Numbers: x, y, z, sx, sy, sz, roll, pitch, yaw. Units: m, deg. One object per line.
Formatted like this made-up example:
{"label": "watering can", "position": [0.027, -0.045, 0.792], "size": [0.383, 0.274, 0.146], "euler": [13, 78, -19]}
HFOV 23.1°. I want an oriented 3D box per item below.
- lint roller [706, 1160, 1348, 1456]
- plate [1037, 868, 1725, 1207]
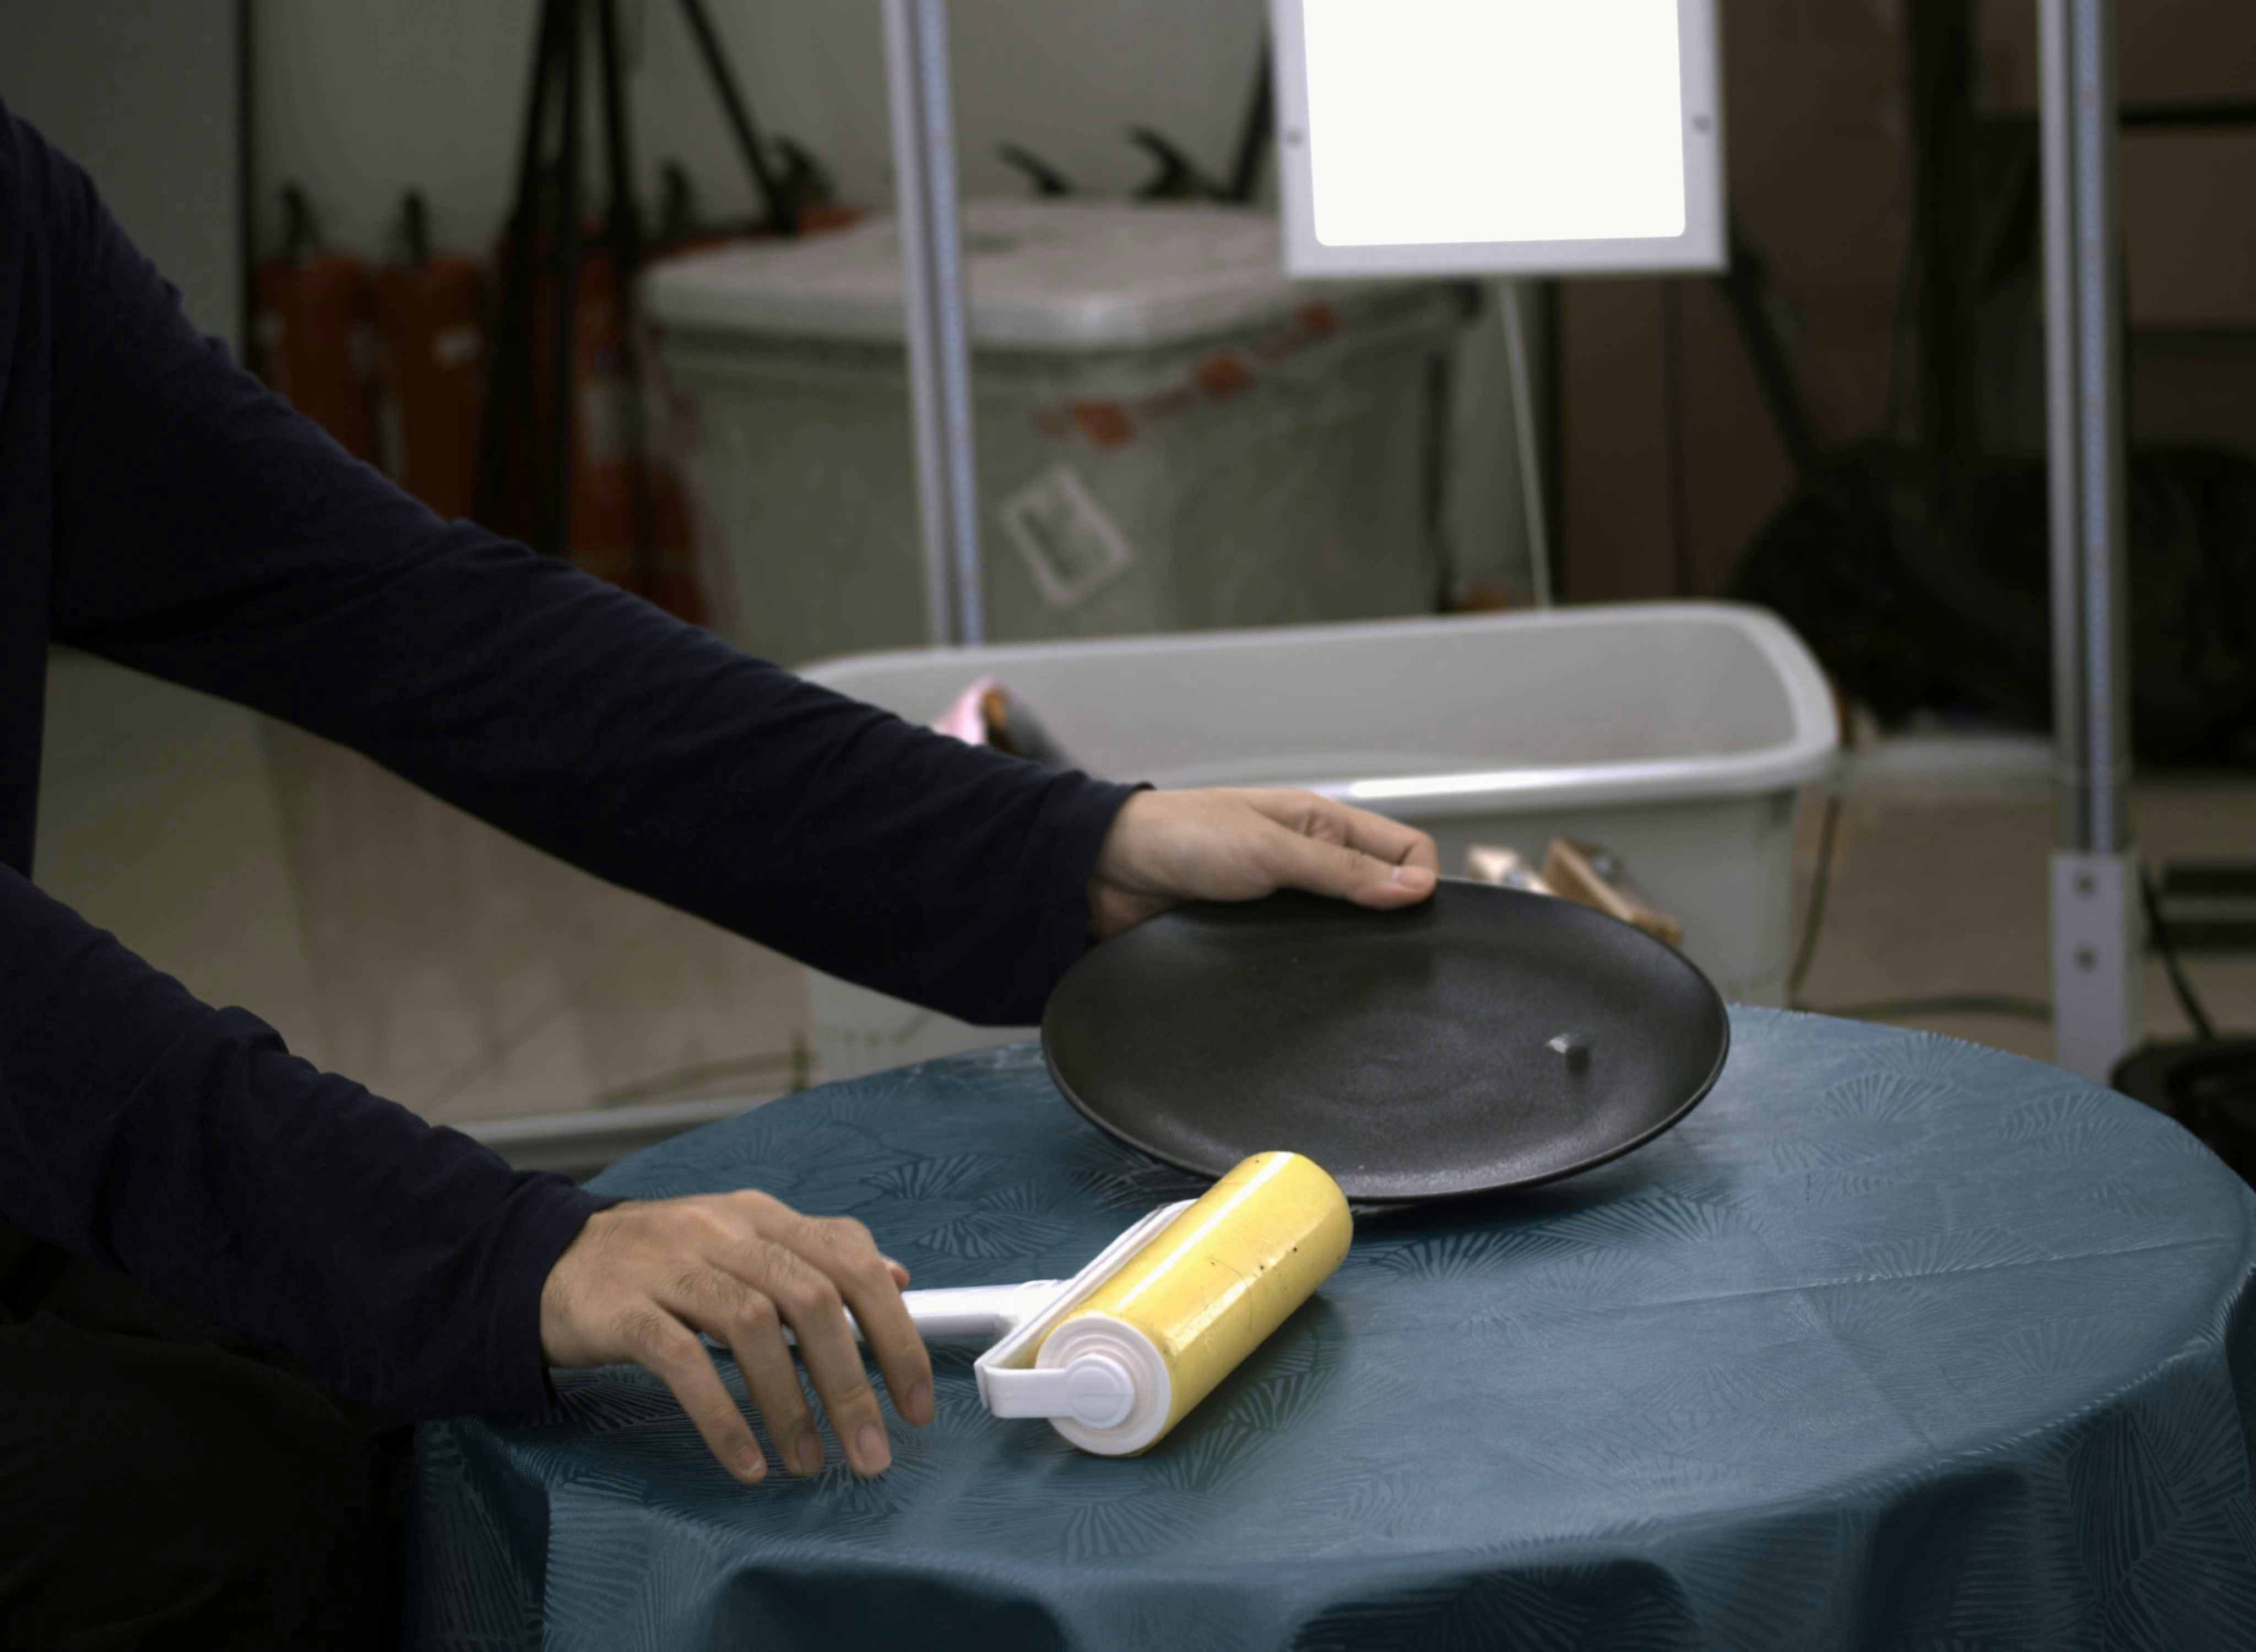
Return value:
{"label": "lint roller", "position": [-0.045, 0.146, 1.738], "size": [0.194, 0.051, 0.171], "euler": [4, 15, 21]}
{"label": "plate", "position": [0.089, 0.078, 1.936], "size": [0.244, 0.023, 0.244], "euler": [-3, 27, 0]}
